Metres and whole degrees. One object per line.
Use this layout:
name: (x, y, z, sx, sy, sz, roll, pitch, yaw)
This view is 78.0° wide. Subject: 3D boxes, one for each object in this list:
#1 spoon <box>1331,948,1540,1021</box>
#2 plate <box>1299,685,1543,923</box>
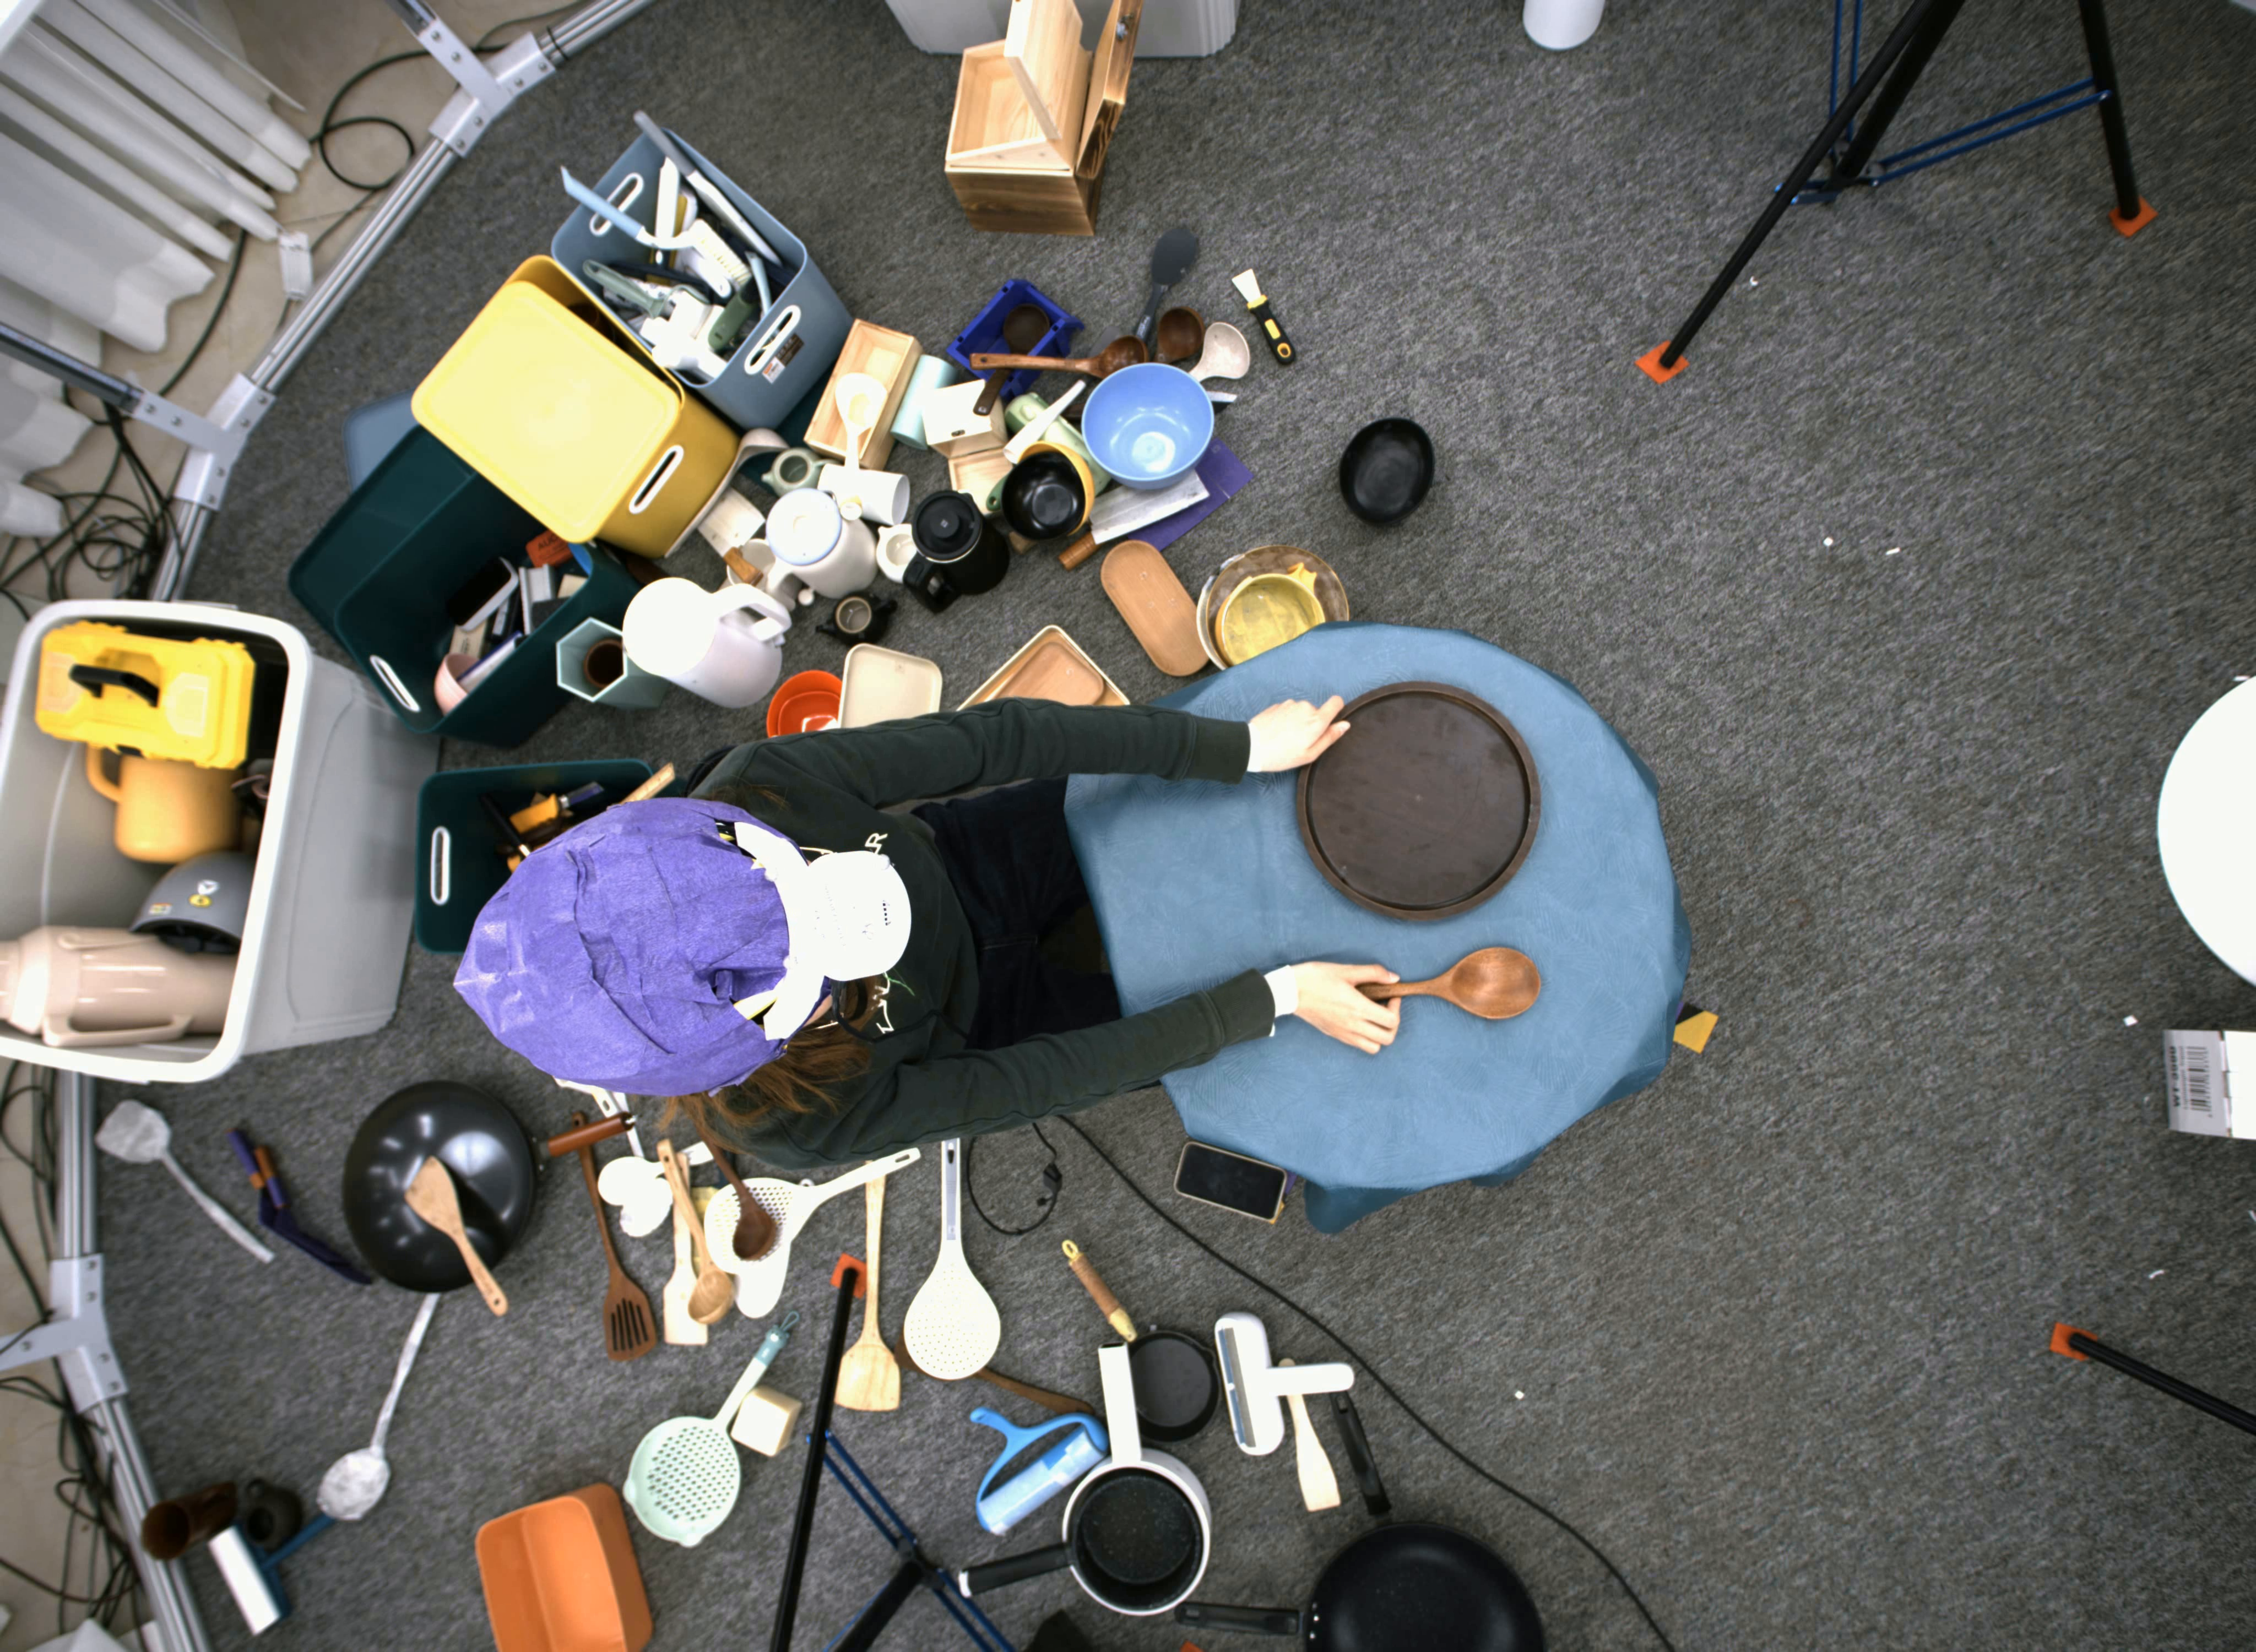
spoon: (0.320, 0.169, 1.440, 0.217, 0.017, 0.075, -6, 85, 10)
plate: (0.307, -0.025, 1.452, 0.256, 0.029, 0.253, -1, 86, 10)
